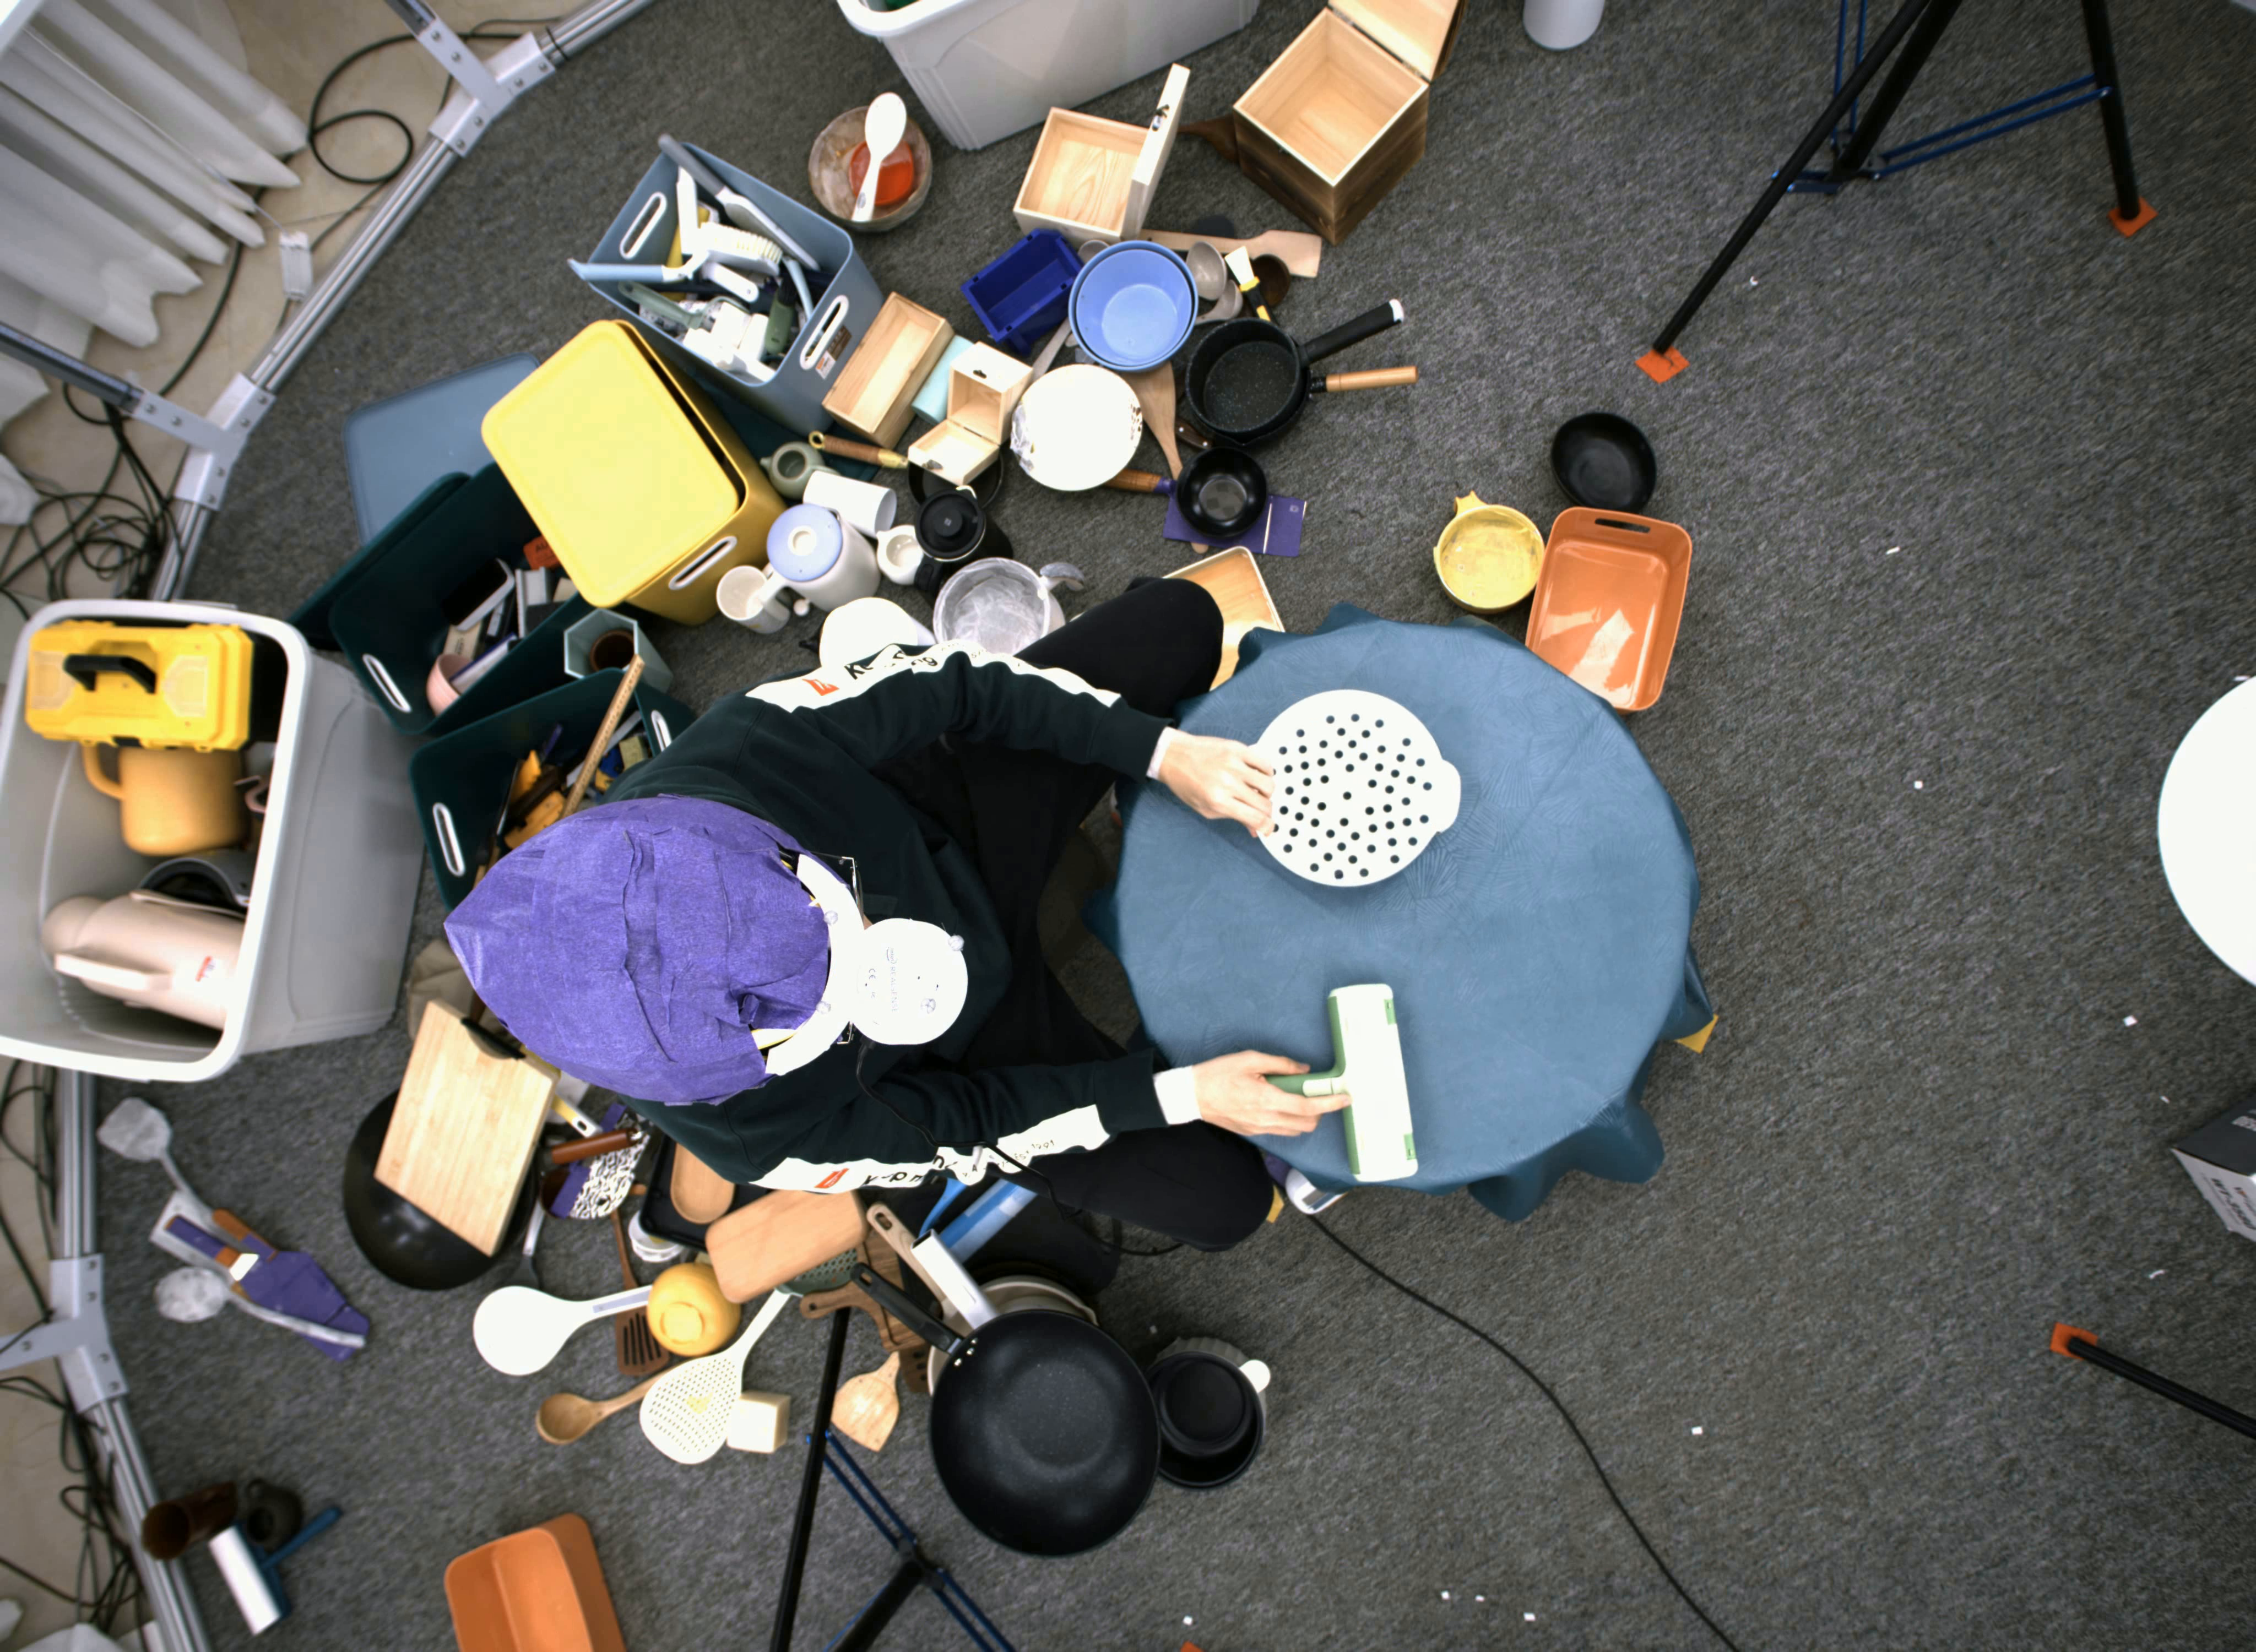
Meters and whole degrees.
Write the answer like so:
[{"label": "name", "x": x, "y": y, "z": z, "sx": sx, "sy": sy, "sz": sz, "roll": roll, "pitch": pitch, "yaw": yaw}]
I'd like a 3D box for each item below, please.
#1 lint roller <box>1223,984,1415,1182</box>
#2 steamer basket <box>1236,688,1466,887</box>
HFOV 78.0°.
[{"label": "lint roller", "x": 0.187, "y": 0.264, "z": 1.404, "sx": 0.184, "sy": 0.082, "sz": 0.197, "roll": -7, "pitch": 83, "yaw": 4}, {"label": "steamer basket", "x": 0.228, "y": -0.038, "z": 1.416, "sx": 0.231, "sy": 0.069, "sz": 0.201, "roll": 4, "pitch": 86, "yaw": 11}]
